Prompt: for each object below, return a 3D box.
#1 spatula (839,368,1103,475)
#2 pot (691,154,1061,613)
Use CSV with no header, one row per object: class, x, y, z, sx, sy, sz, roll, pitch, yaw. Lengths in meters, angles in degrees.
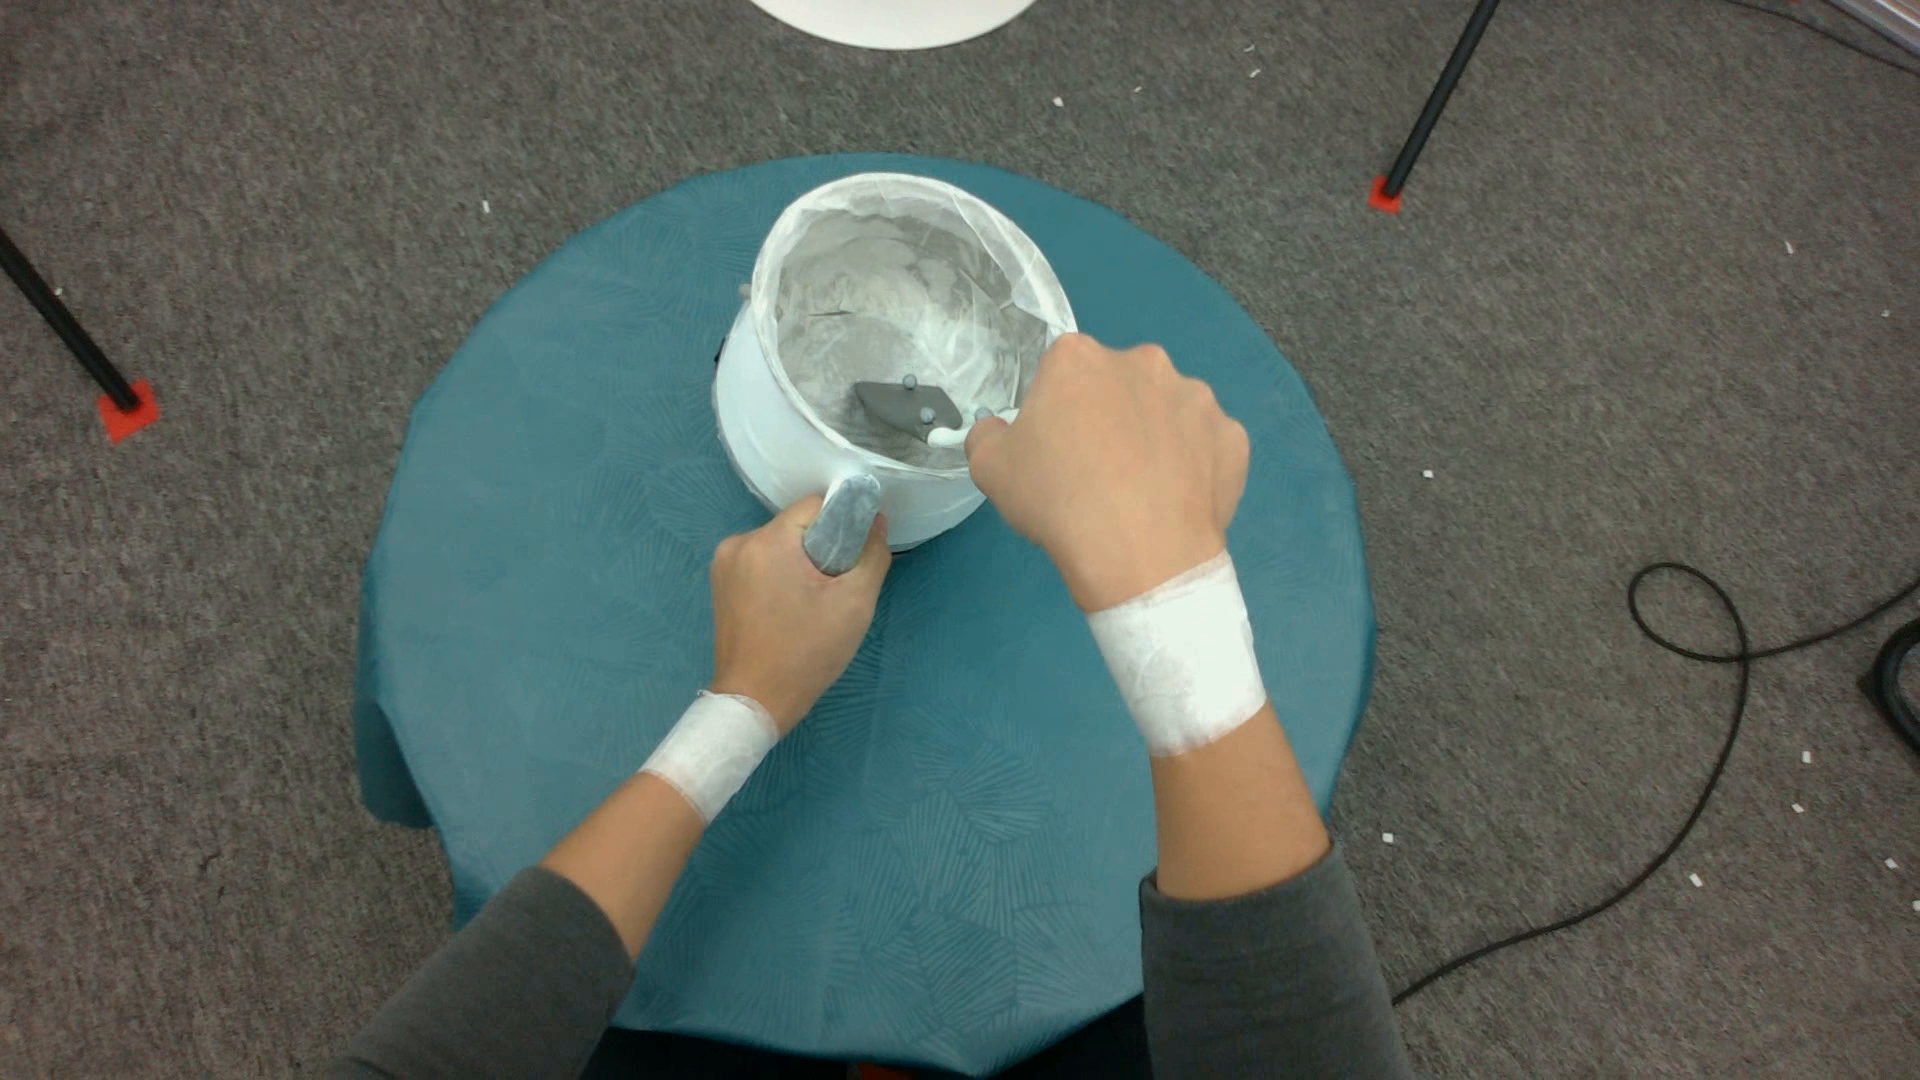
spatula,-0.003,-0.064,0.655,0.059,0.287,0.032,-3,101,-17
pot,-0.058,-0.077,0.750,0.179,0.136,0.234,22,64,-13
